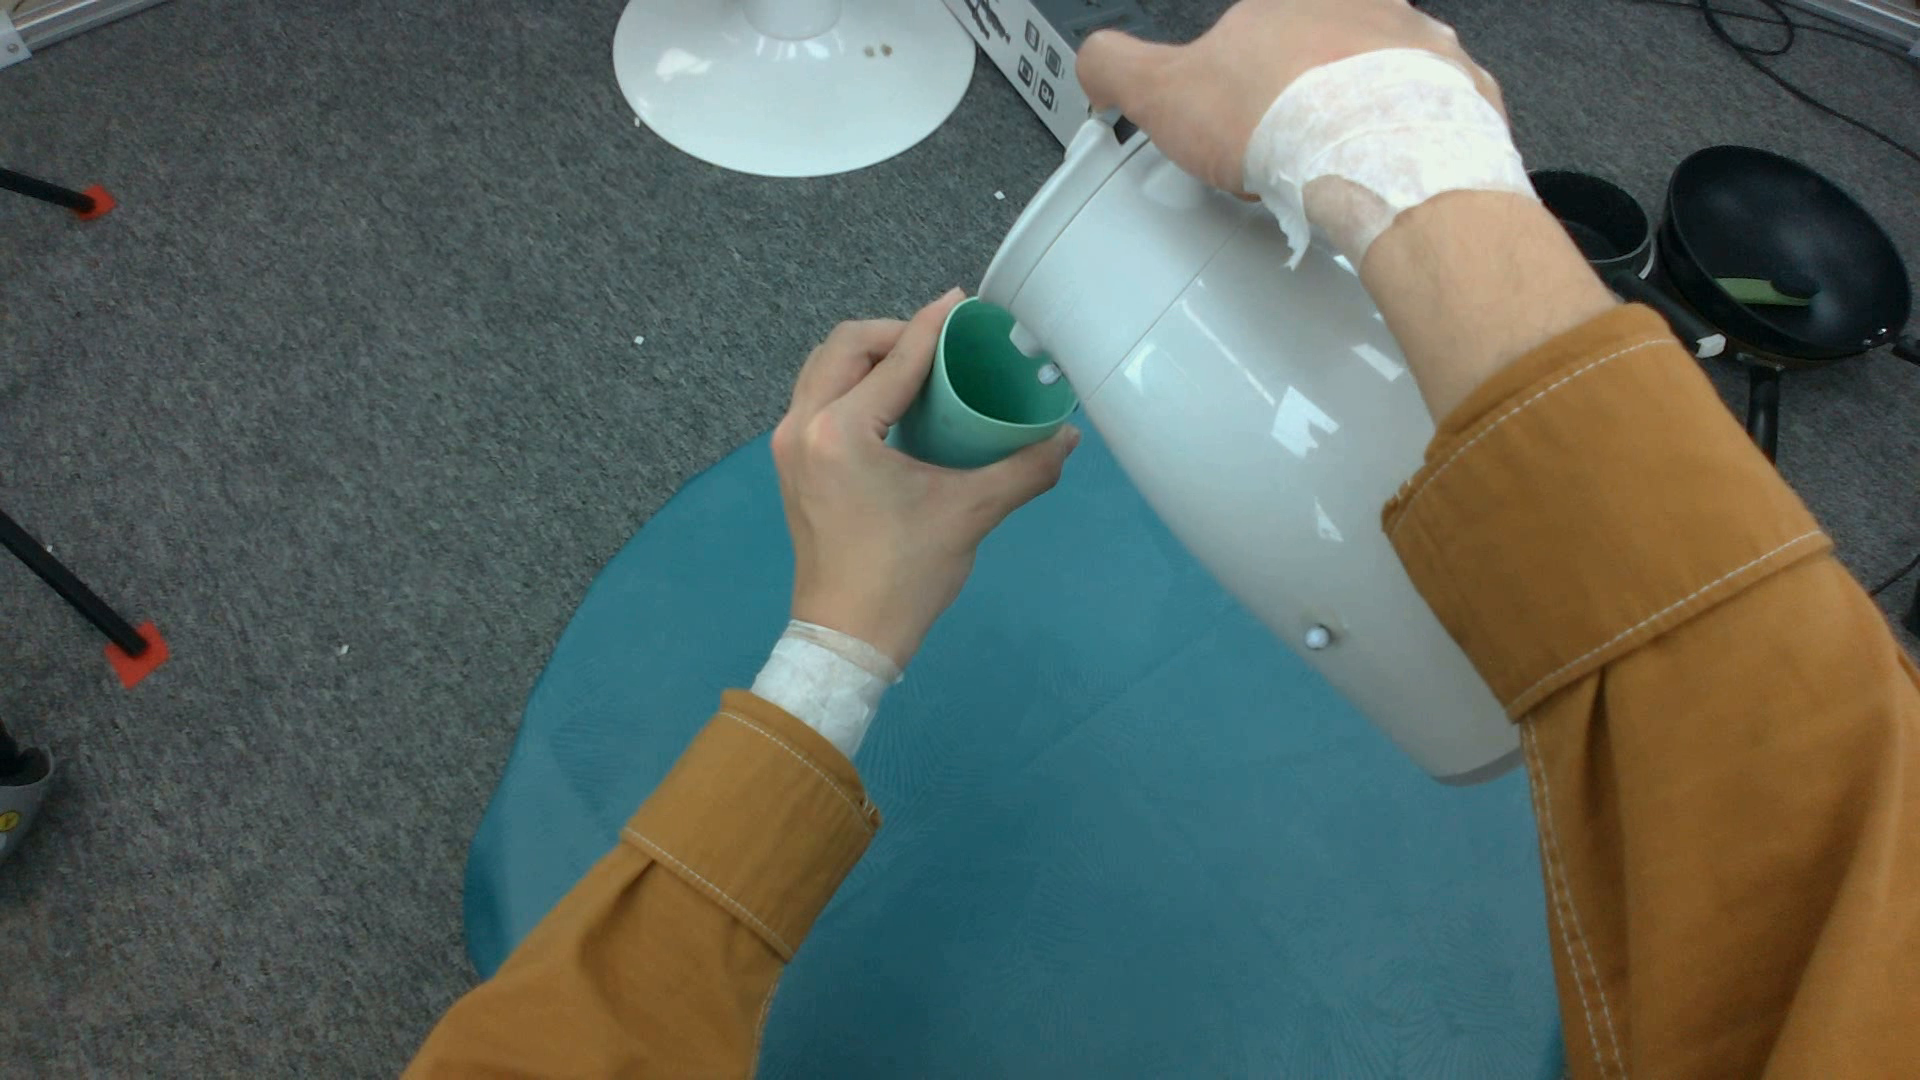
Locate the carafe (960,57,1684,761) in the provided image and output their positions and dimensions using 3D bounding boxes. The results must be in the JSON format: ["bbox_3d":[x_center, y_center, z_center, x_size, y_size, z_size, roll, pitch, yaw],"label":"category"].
[{"bbox_3d":[0.125,-0.061,0.487,0.248,0.167,0.133,43,52,1],"label":"carafe"}]

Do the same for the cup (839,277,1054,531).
[{"bbox_3d":[-0.010,-0.056,0.627,0.067,0.131,0.067,8,65,-17],"label":"cup"}]
